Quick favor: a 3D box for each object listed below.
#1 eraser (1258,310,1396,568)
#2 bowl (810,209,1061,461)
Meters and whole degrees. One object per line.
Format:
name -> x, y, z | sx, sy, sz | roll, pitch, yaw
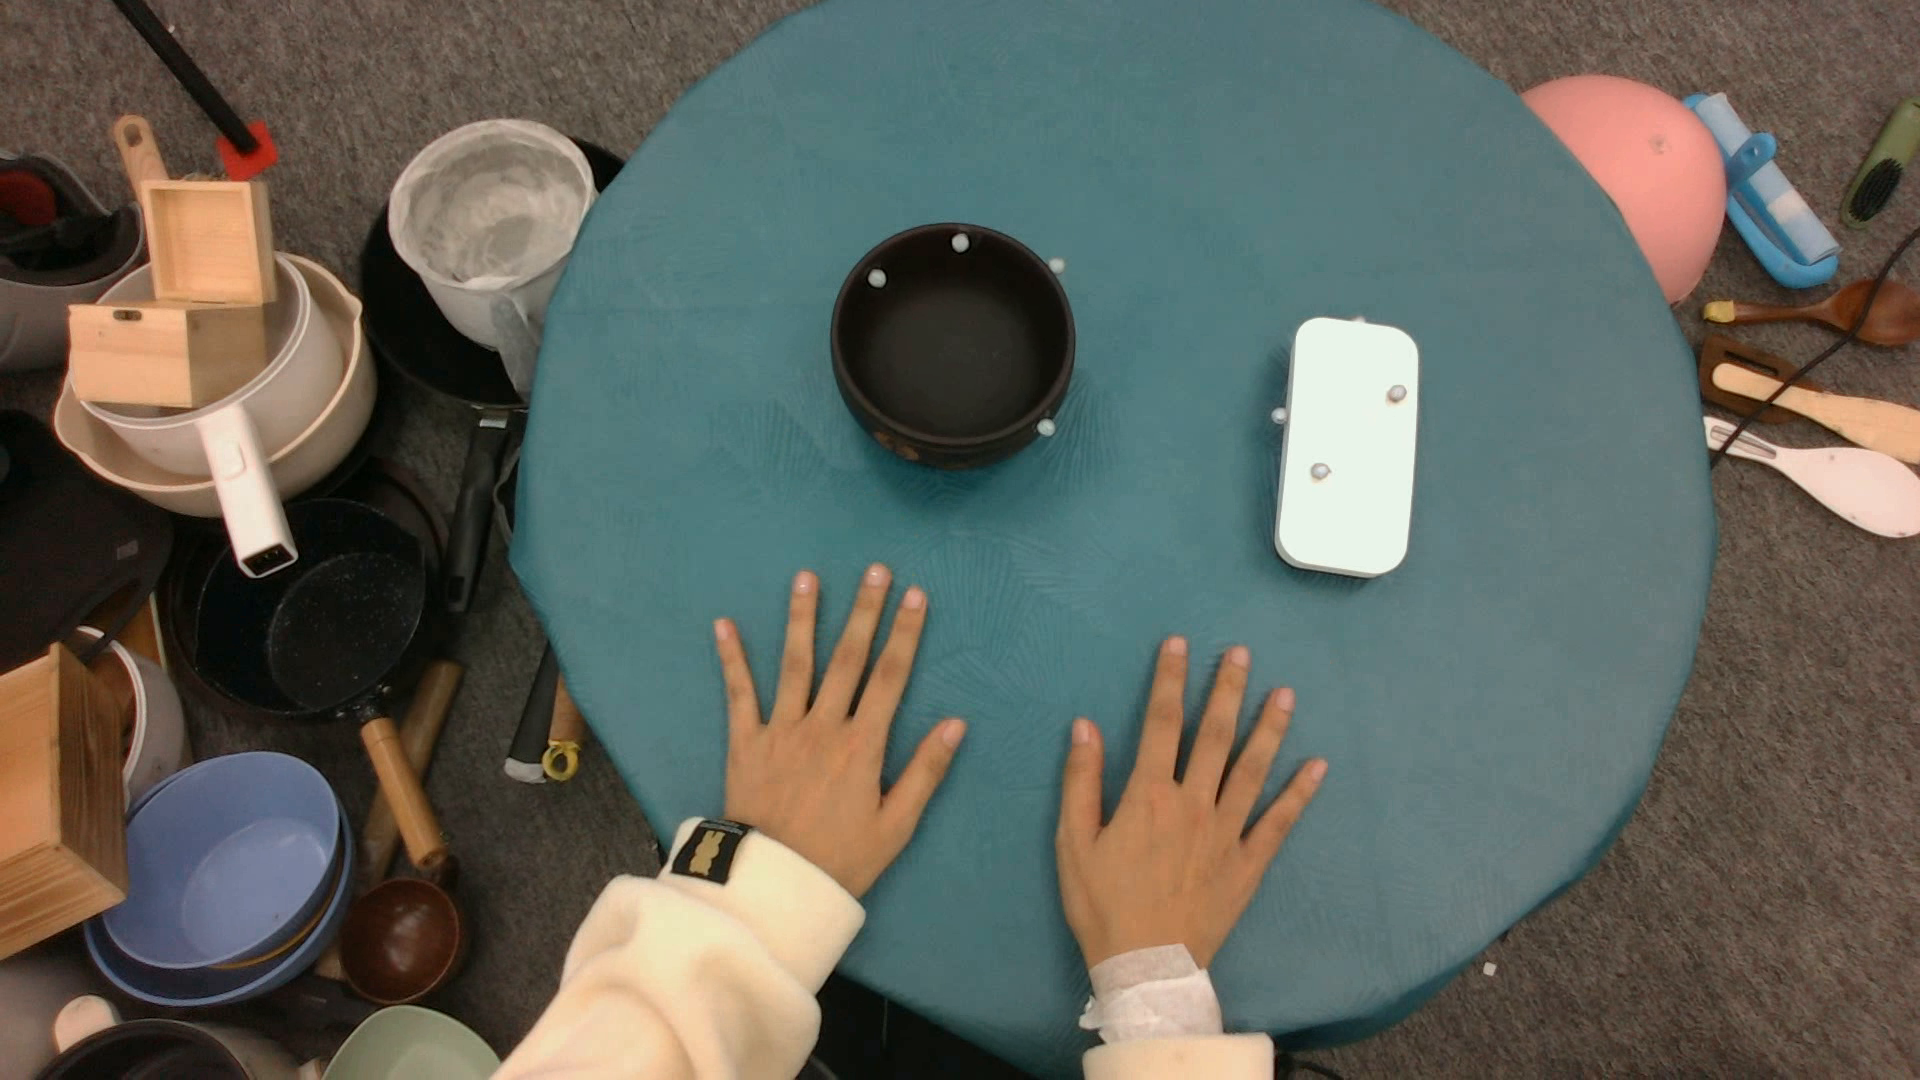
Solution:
eraser -> 0.181, -0.051, 0.684 | 0.063, 0.034, 0.131 | 9, 71, 0
bowl -> -0.012, -0.092, 0.666 | 0.118, 0.069, 0.118 | 0, 73, 0
